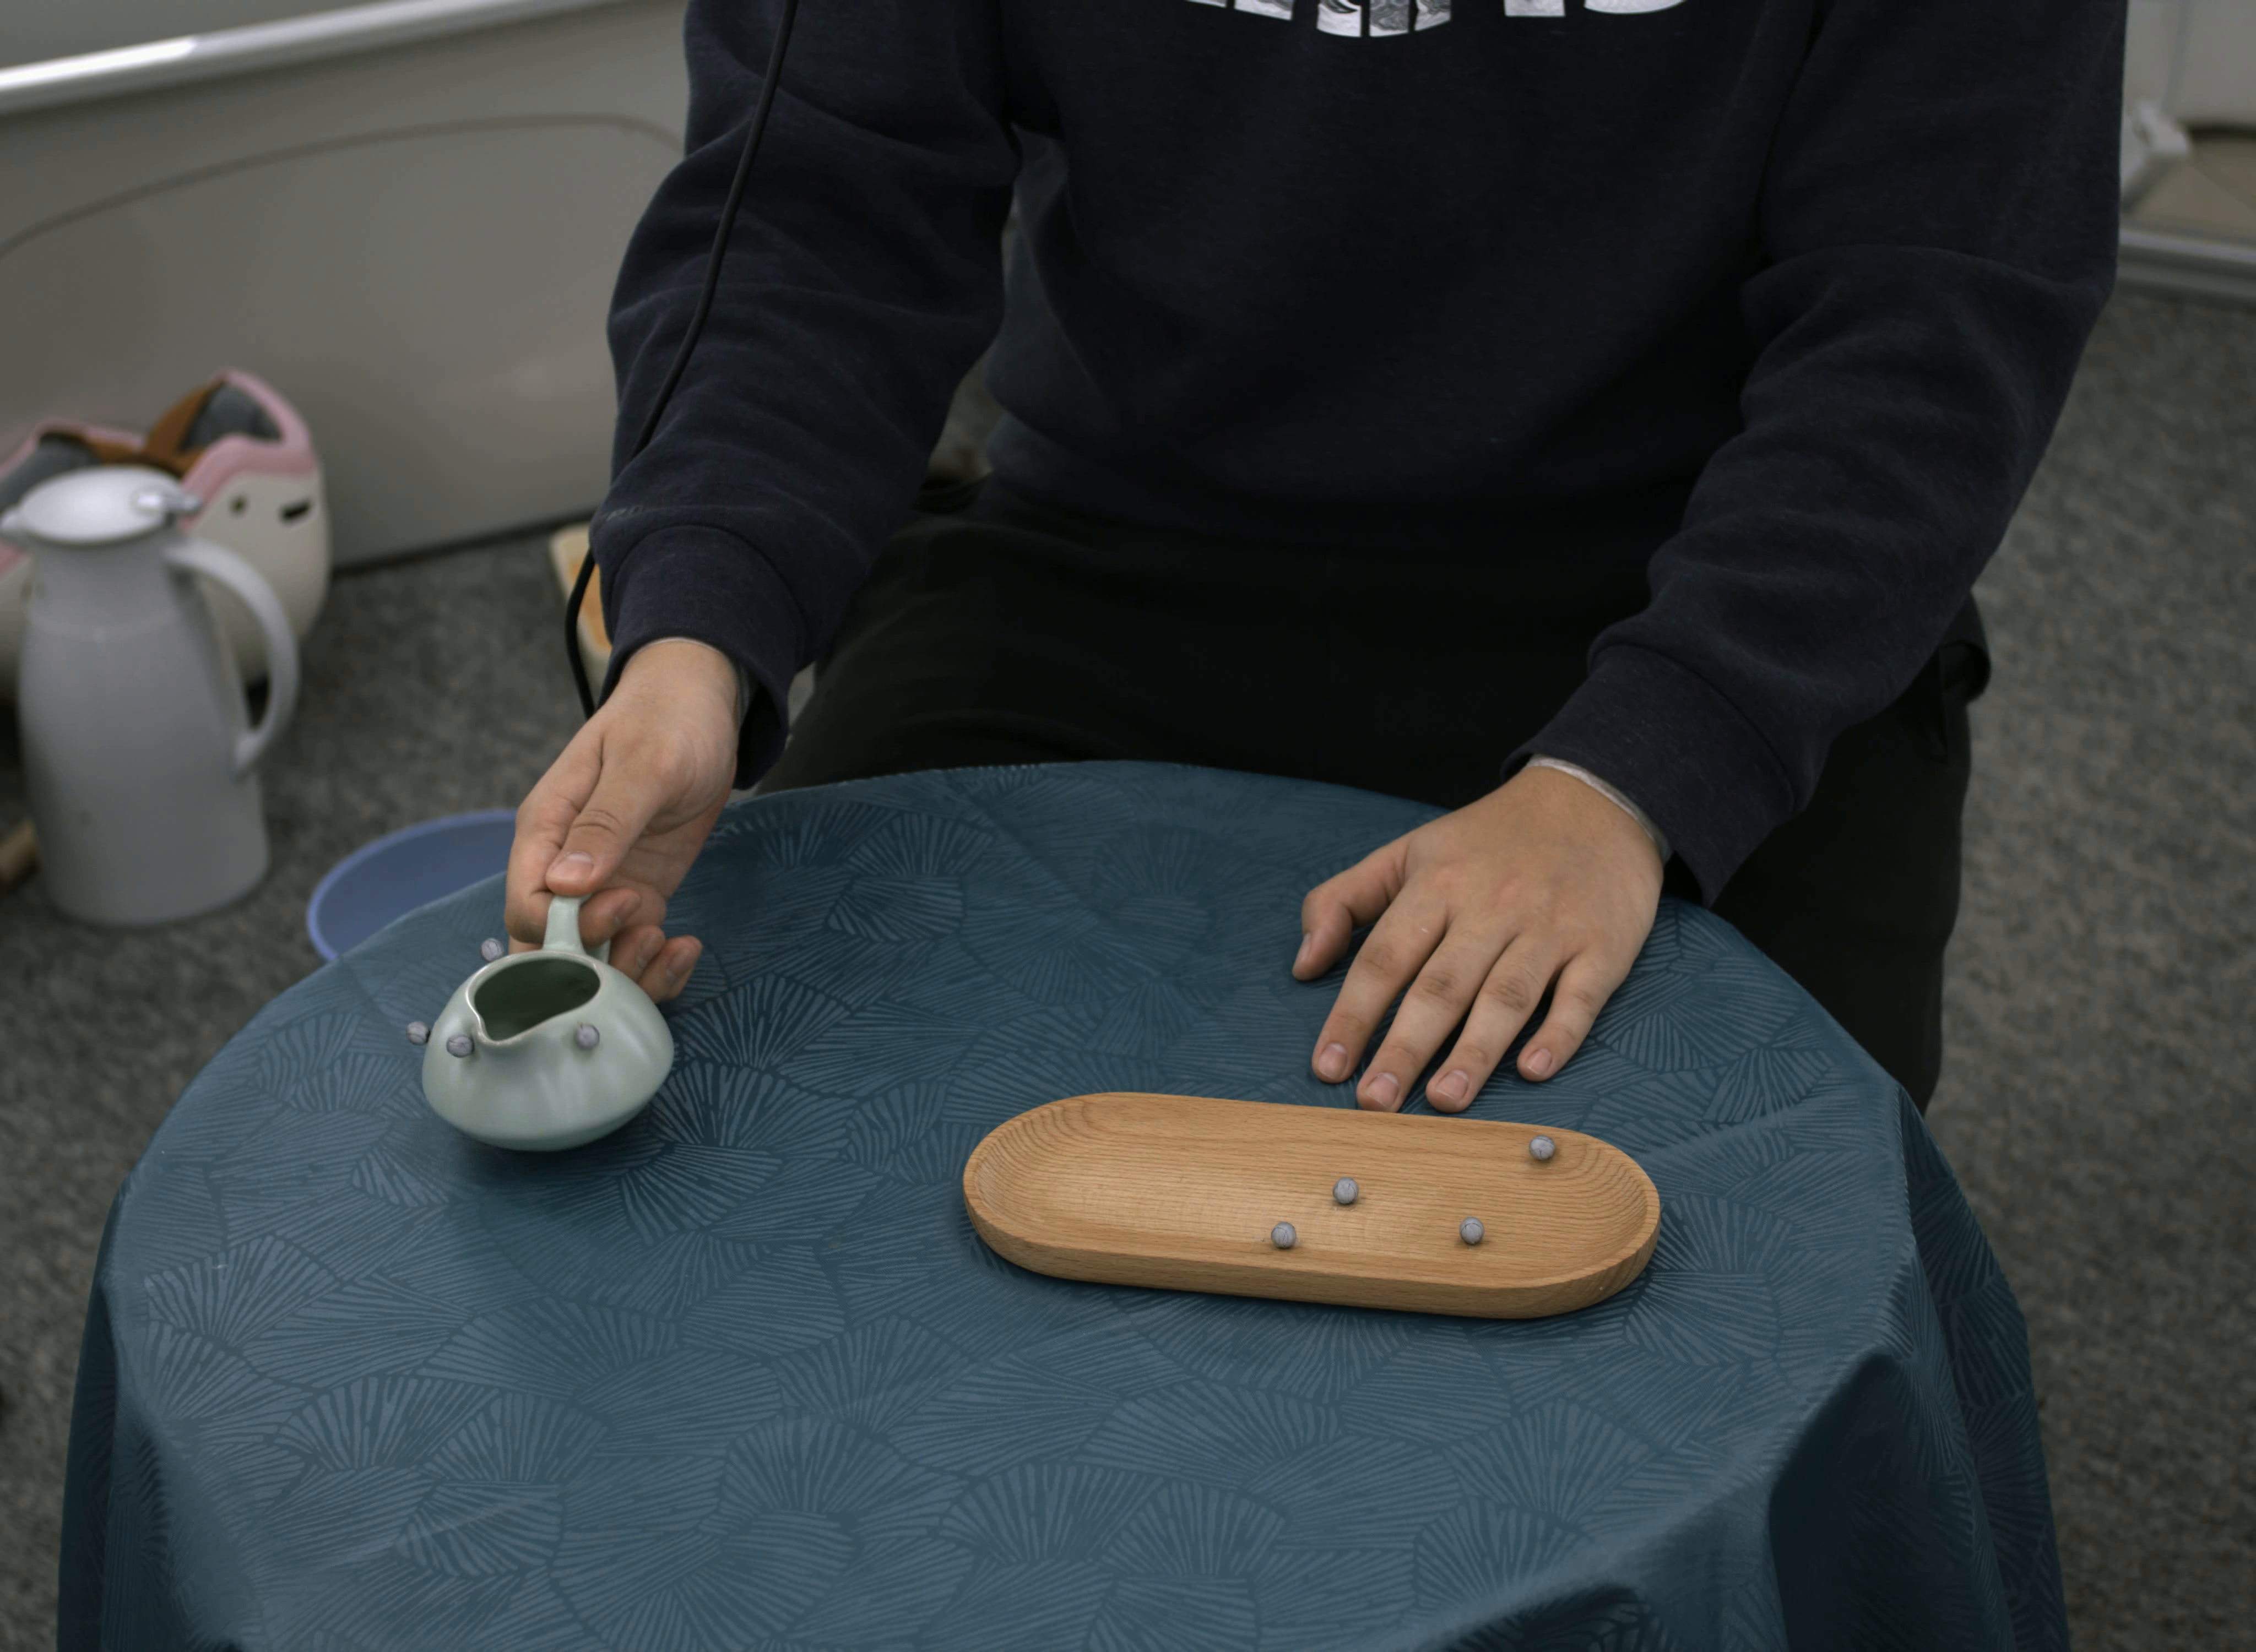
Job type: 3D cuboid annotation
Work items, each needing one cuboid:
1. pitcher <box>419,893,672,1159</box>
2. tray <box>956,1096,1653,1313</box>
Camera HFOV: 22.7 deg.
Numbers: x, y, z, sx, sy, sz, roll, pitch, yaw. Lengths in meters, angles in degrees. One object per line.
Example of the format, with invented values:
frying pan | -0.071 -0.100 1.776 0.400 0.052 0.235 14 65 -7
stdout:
pitcher | -0.196 0.070 1.912 0.085 0.060 0.110 2 30 10
tray | 0.057 0.124 1.838 0.229 0.020 0.103 2 26 13
